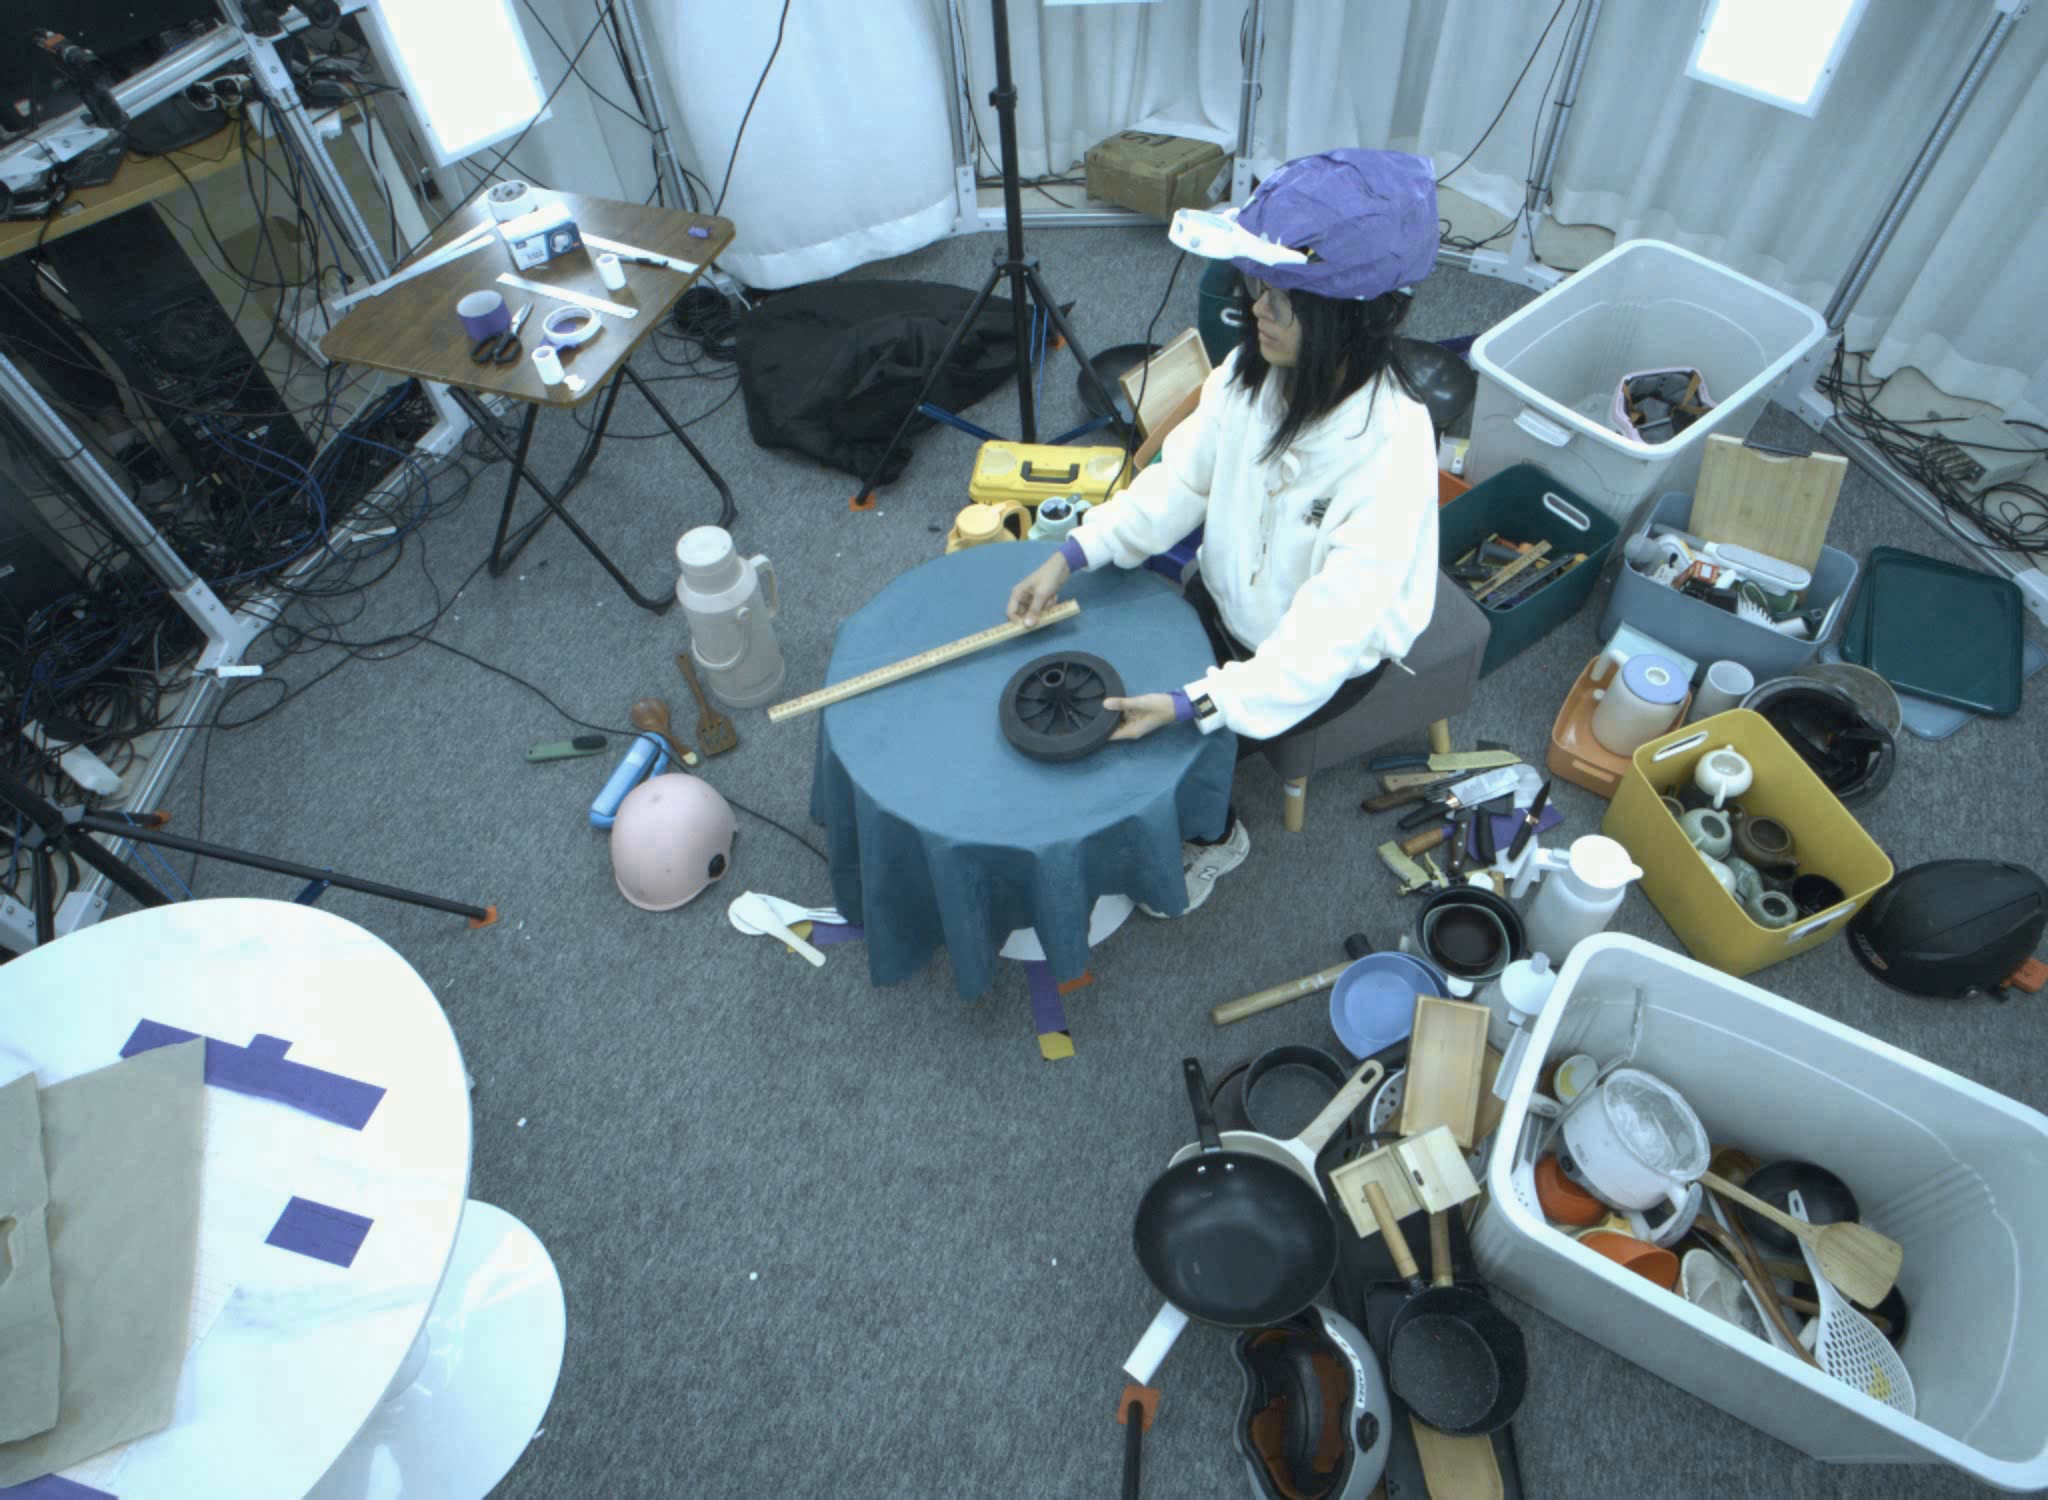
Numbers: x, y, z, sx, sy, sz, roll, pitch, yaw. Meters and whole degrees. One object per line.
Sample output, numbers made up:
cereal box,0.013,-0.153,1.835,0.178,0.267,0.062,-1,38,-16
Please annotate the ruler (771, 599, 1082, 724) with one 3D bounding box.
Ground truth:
ruler,-0.148,-0.138,1.871,0.503,0.006,0.026,-20,72,-8

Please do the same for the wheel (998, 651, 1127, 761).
wheel,0.051,-0.078,1.783,0.186,0.080,0.188,24,65,26
